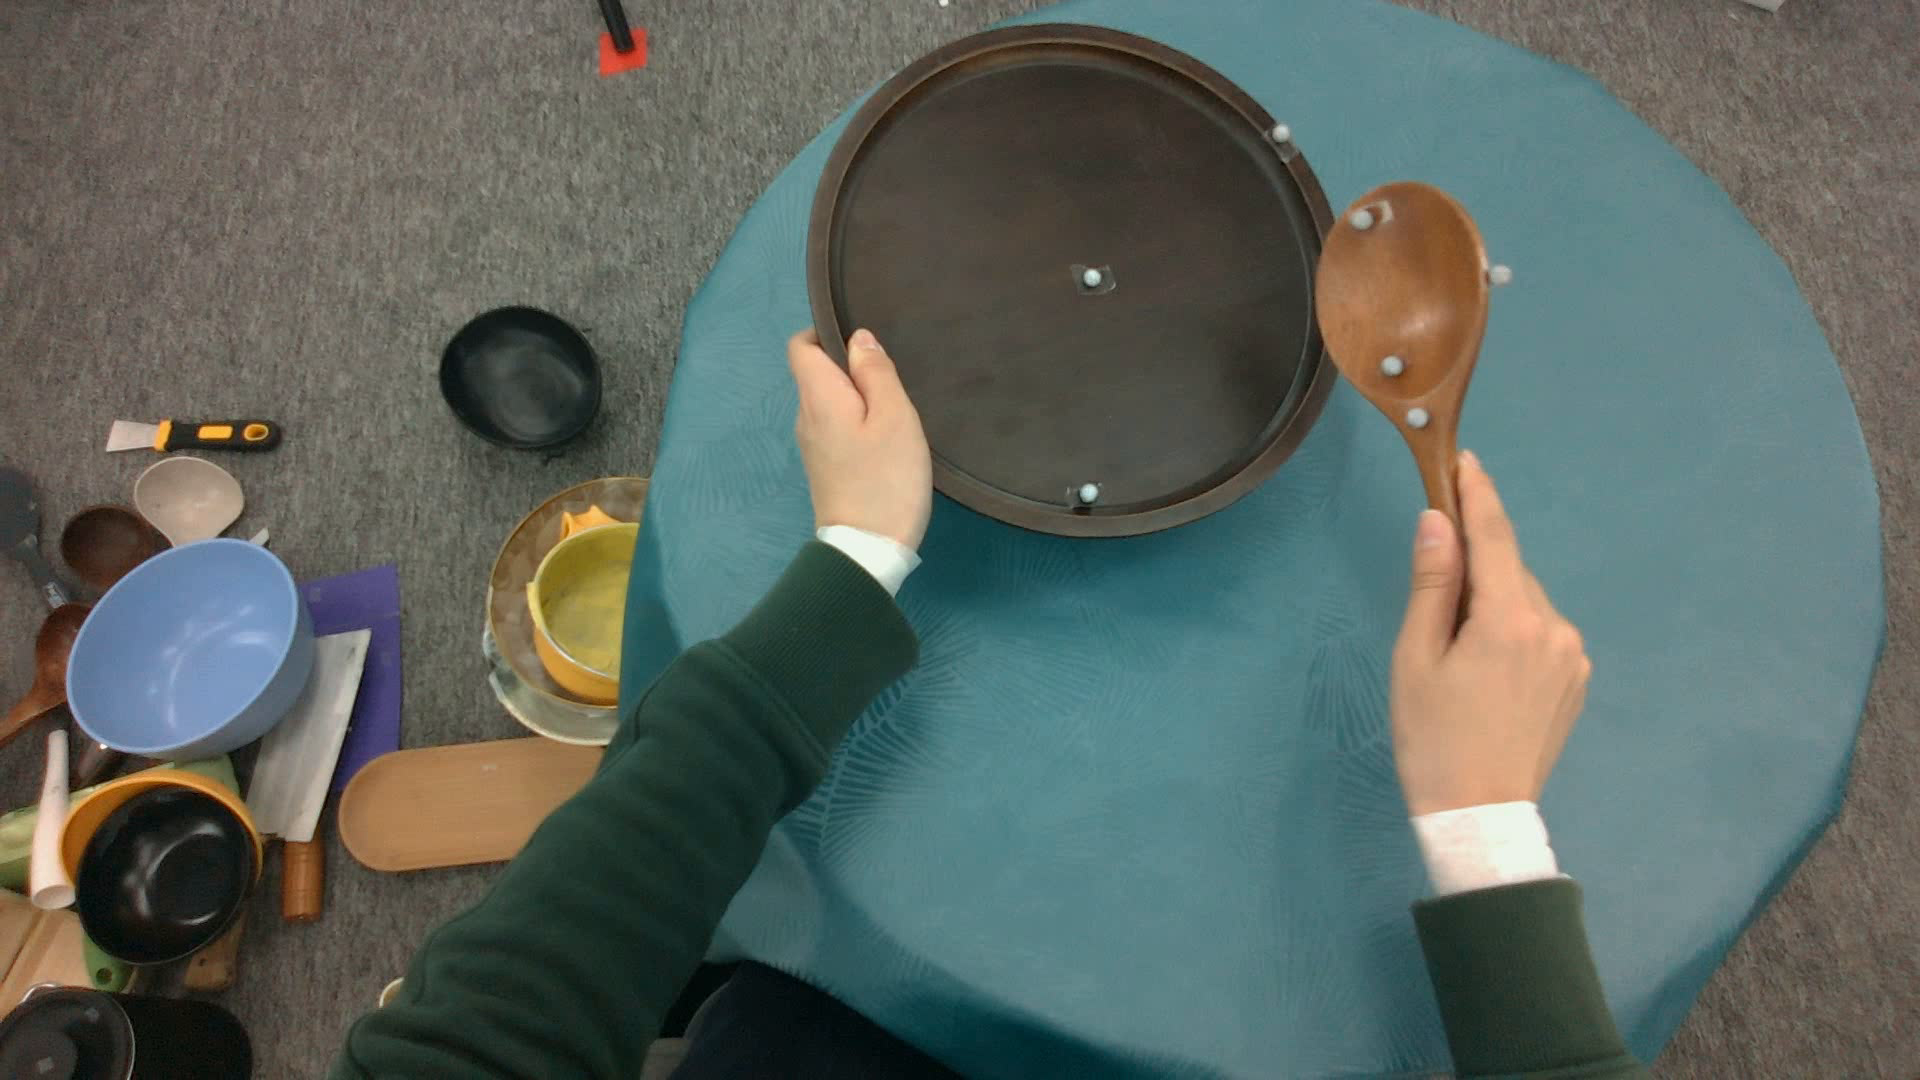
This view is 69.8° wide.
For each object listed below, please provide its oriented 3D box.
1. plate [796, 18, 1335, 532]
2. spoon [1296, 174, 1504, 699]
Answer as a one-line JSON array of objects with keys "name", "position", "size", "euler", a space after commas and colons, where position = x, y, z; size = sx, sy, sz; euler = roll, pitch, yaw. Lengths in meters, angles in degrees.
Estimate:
[{"name": "plate", "position": [0.052, -0.125, 0.633], "size": [0.255, 0.029, 0.255], "euler": [2, 74, -8]}, {"name": "spoon", "position": [0.185, -0.043, 0.556], "size": [0.017, 0.075, 0.216], "euler": [-1, 78, -45]}]
